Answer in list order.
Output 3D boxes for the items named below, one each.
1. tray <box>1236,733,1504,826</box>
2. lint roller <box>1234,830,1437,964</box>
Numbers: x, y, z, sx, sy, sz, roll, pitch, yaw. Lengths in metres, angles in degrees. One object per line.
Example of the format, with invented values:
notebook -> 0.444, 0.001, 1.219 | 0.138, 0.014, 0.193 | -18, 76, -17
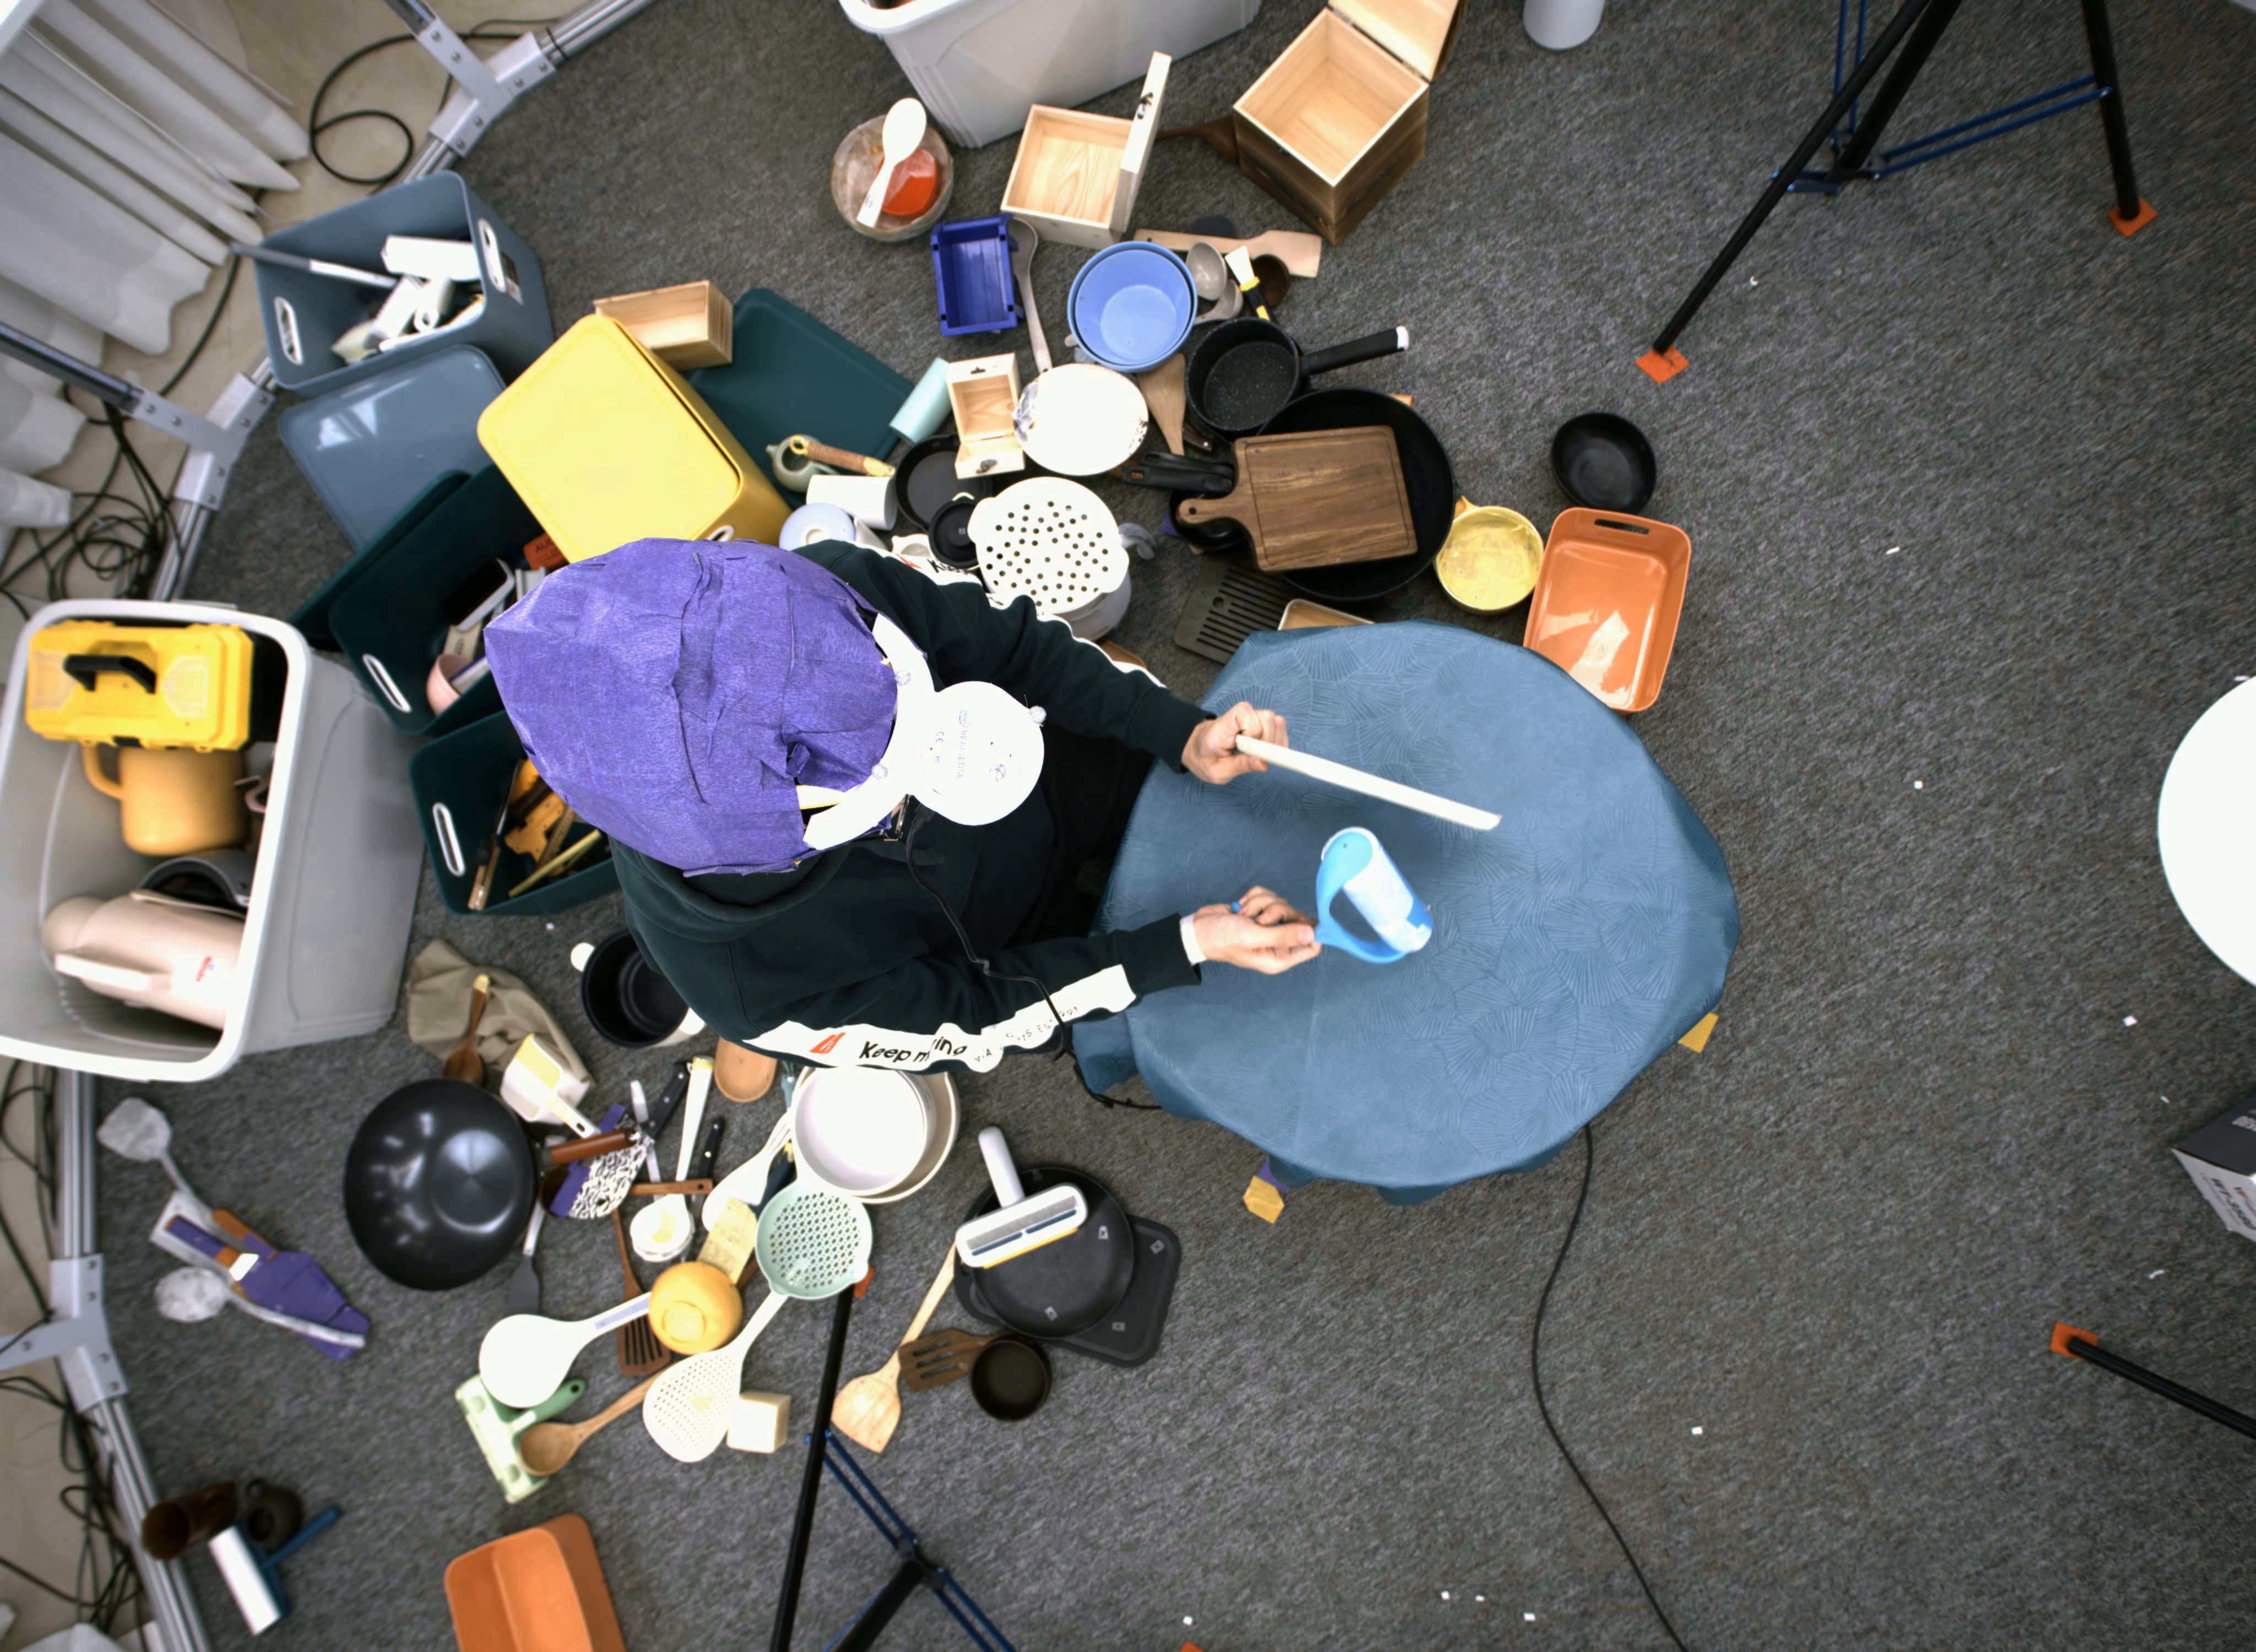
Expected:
tray -> 0.231, -0.044, 1.327 | 0.240, 0.170, 0.017 | 14, 95, -27
lint roller -> 0.190, 0.082, 1.336 | 0.182, 0.231, 0.066 | -17, 61, 23
